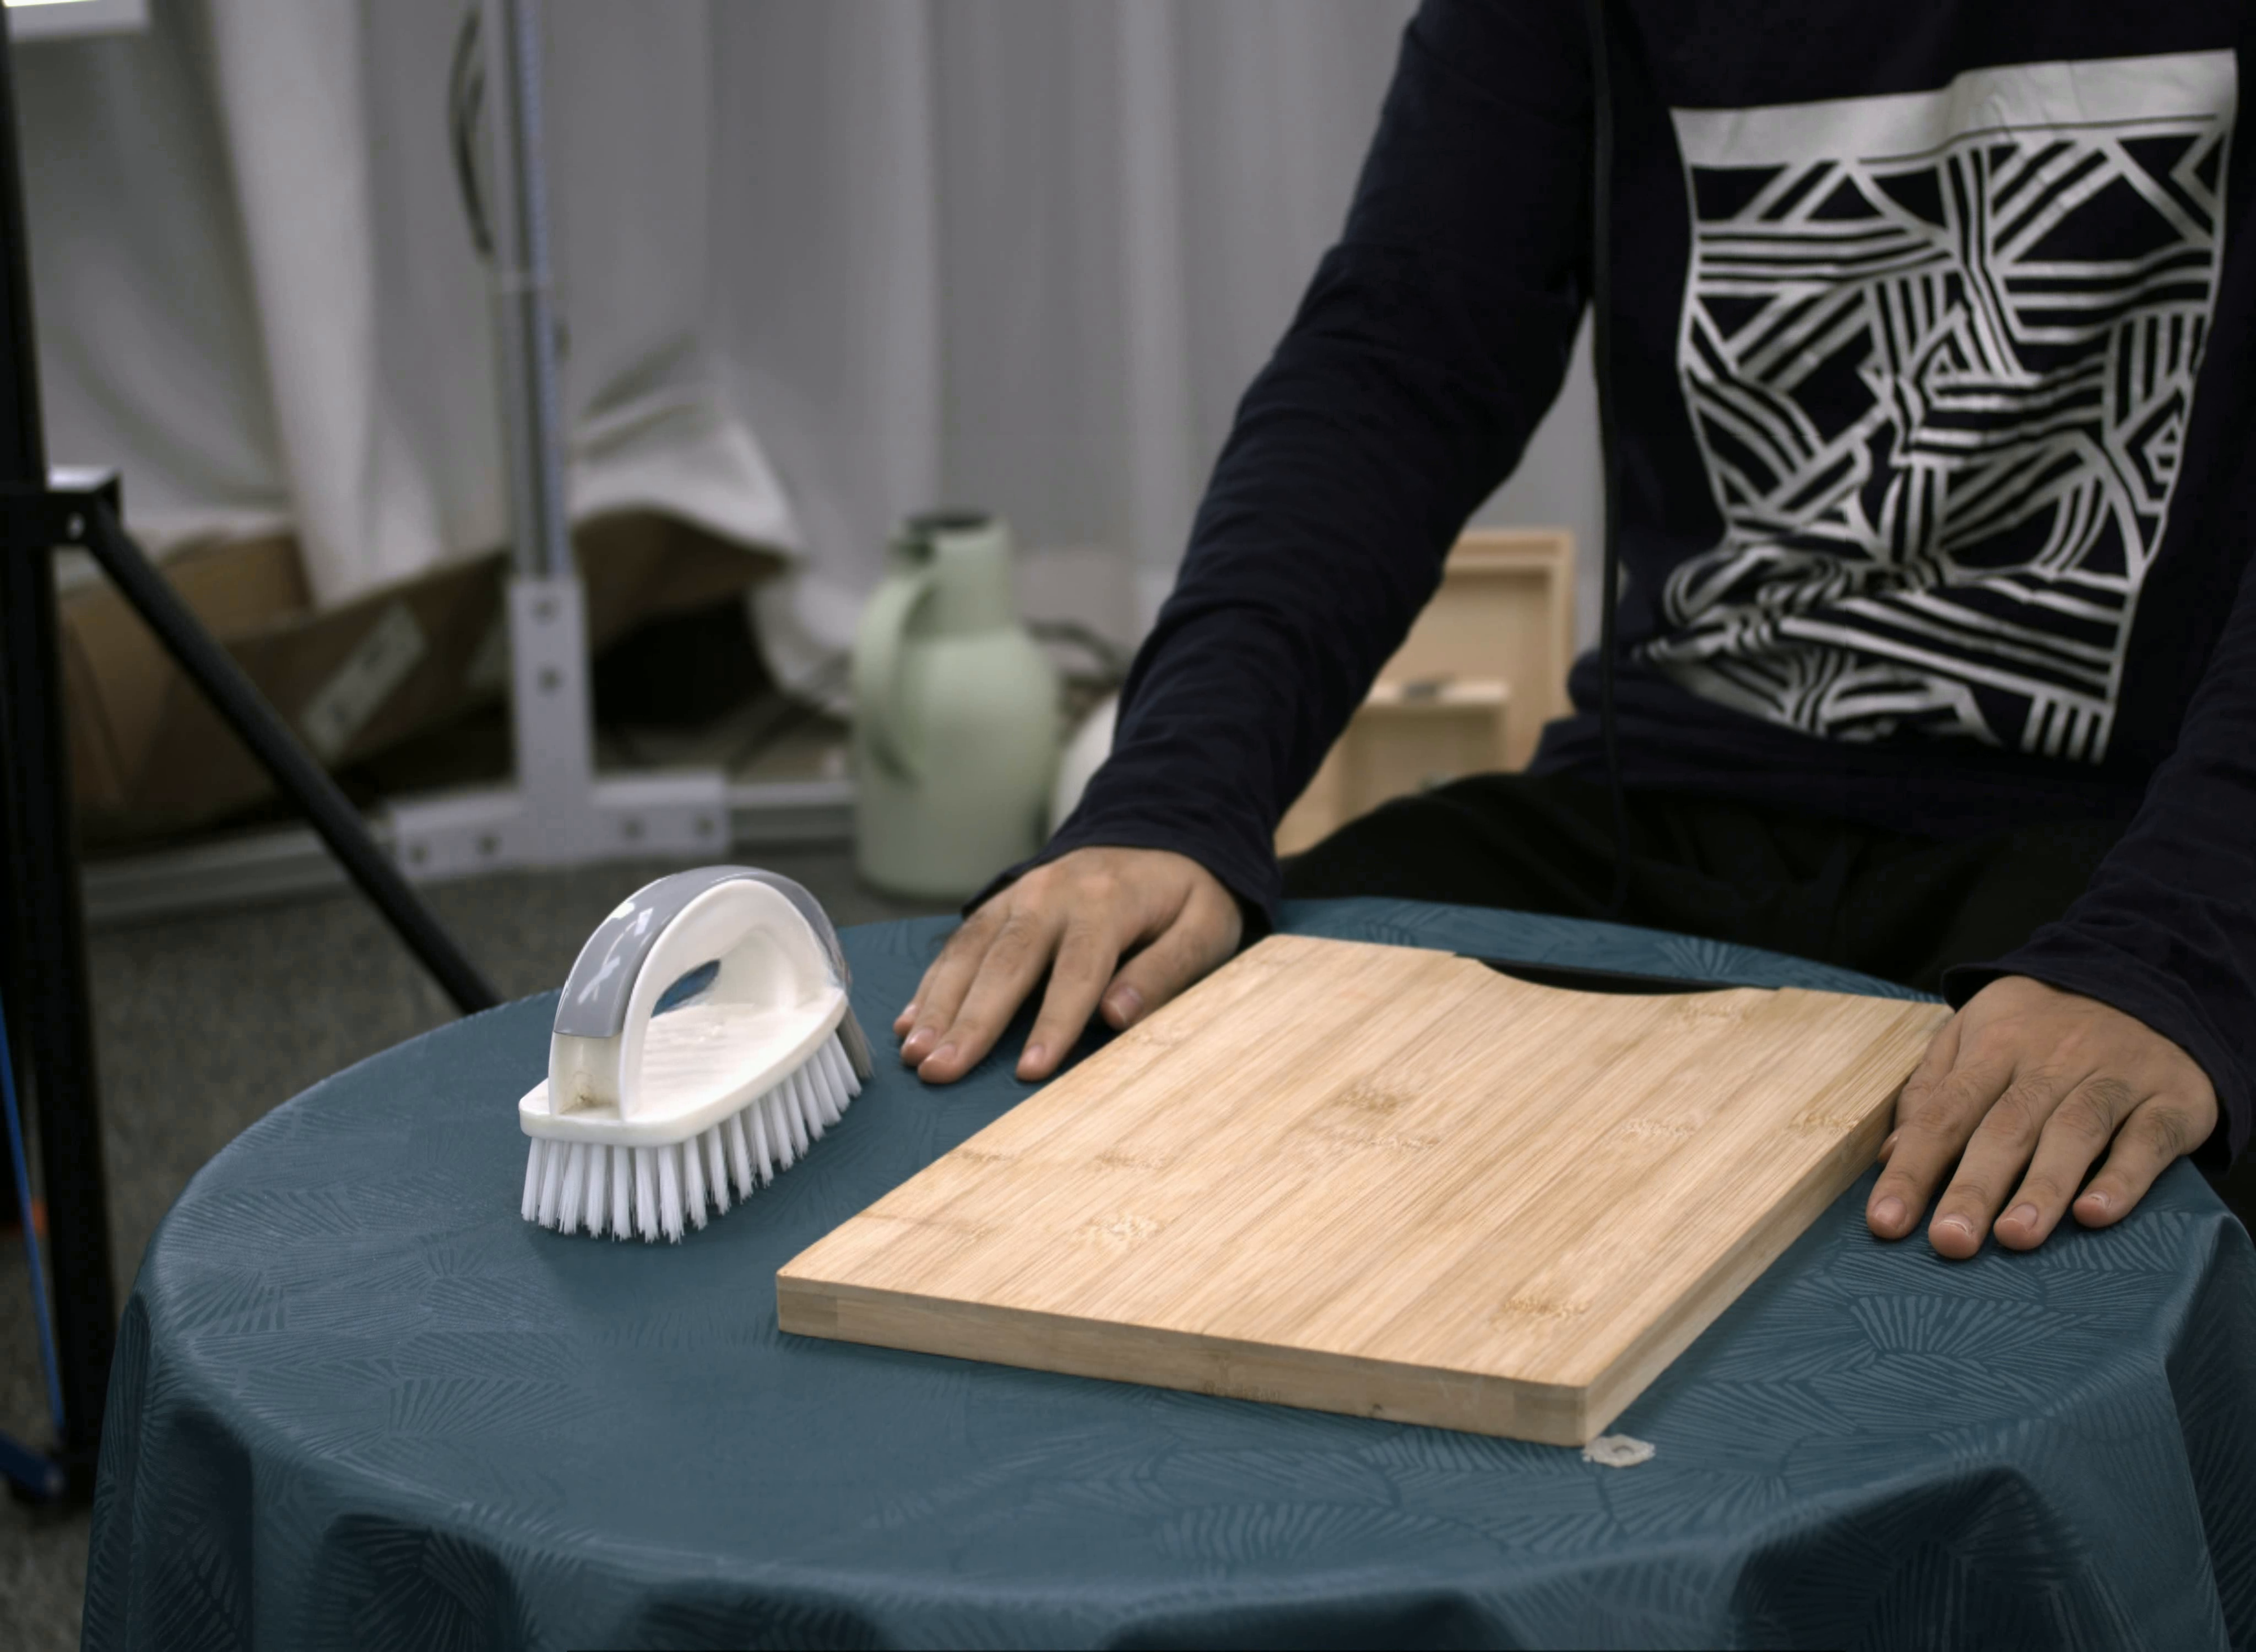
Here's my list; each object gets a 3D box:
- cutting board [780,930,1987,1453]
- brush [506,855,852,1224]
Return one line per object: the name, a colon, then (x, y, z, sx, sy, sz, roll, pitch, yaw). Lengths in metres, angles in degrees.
cutting board: (0.085, 0.098, 1.555, 0.254, 0.023, 0.343, 6, 17, 25)
brush: (-0.126, 0.053, 1.606, 0.062, 0.094, 0.173, 4, 15, 24)
